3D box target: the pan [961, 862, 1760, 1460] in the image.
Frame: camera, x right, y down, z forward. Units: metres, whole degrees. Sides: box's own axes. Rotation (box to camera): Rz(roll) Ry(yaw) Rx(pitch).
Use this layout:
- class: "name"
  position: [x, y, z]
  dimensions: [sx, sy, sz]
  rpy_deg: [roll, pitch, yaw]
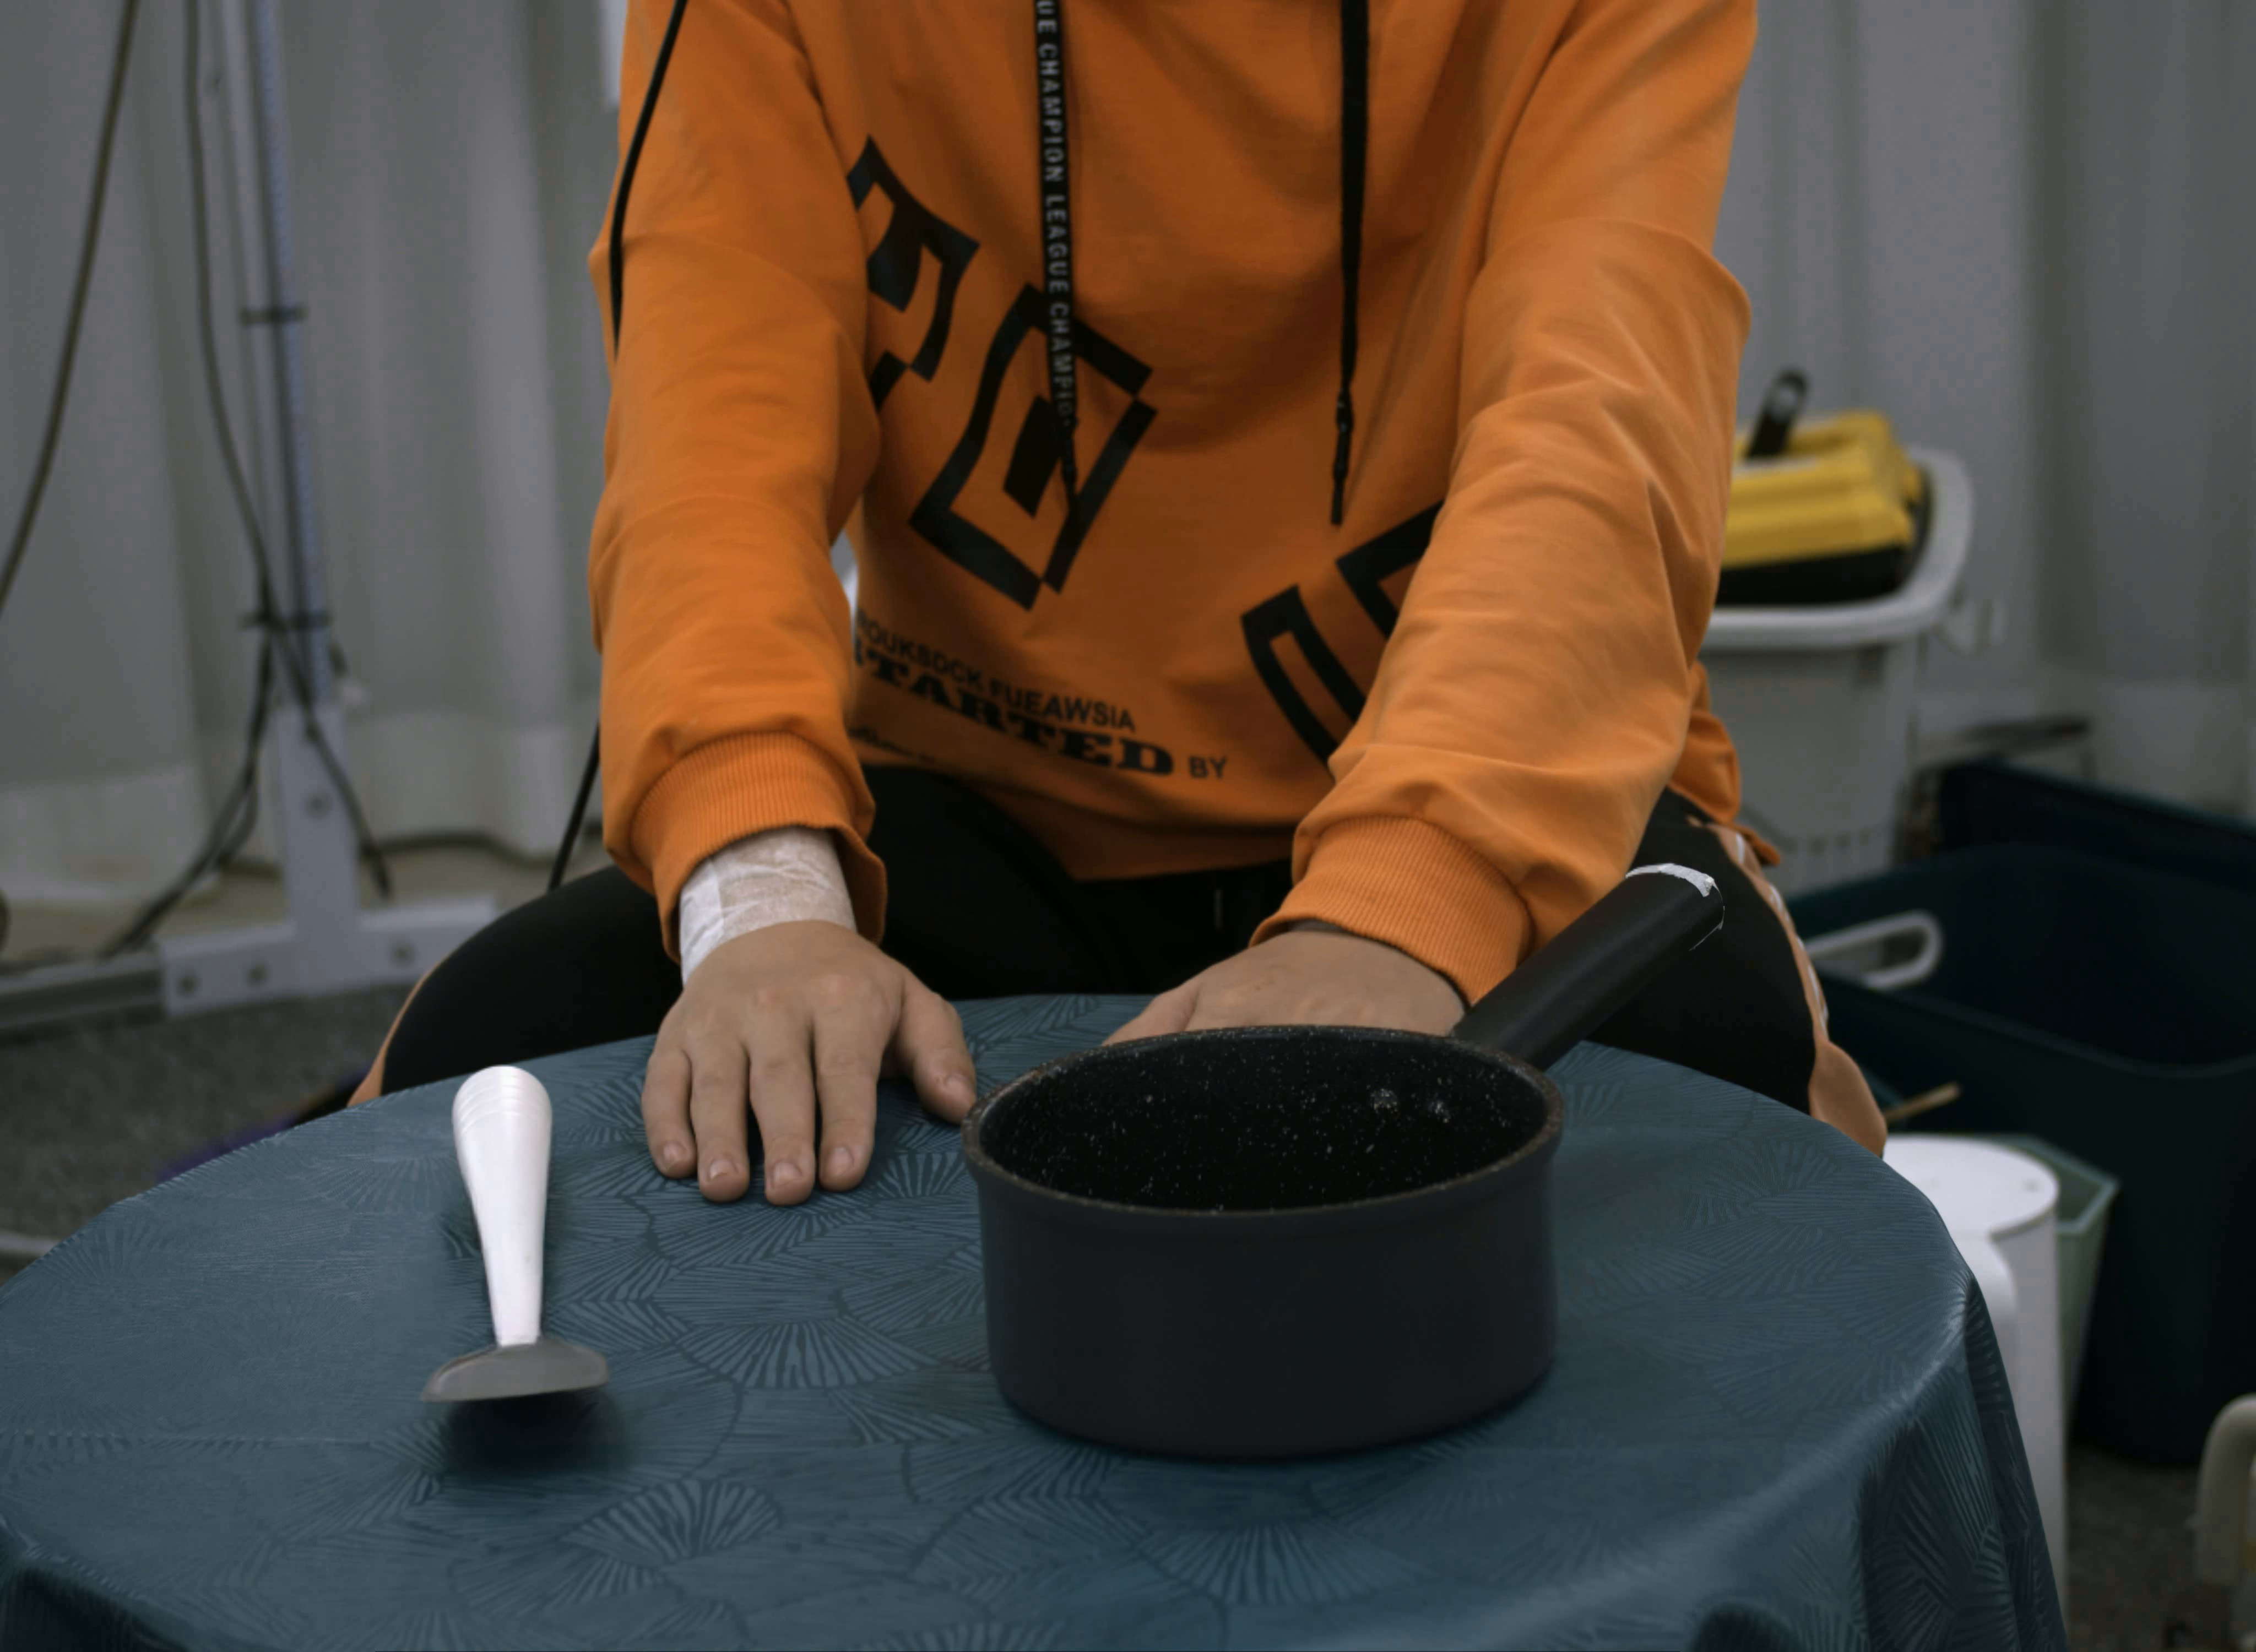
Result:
- class: "pan"
  position: [0.088, 0.094, 1.610]
  dimensions: [0.173, 0.086, 0.329]
  rpy_deg: [9, 21, 36]

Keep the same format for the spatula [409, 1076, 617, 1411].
- class: "spatula"
  position: [-0.185, 0.130, 1.633]
  dimensions: [0.058, 0.032, 0.290]
  rpy_deg: [-1, 14, -7]
